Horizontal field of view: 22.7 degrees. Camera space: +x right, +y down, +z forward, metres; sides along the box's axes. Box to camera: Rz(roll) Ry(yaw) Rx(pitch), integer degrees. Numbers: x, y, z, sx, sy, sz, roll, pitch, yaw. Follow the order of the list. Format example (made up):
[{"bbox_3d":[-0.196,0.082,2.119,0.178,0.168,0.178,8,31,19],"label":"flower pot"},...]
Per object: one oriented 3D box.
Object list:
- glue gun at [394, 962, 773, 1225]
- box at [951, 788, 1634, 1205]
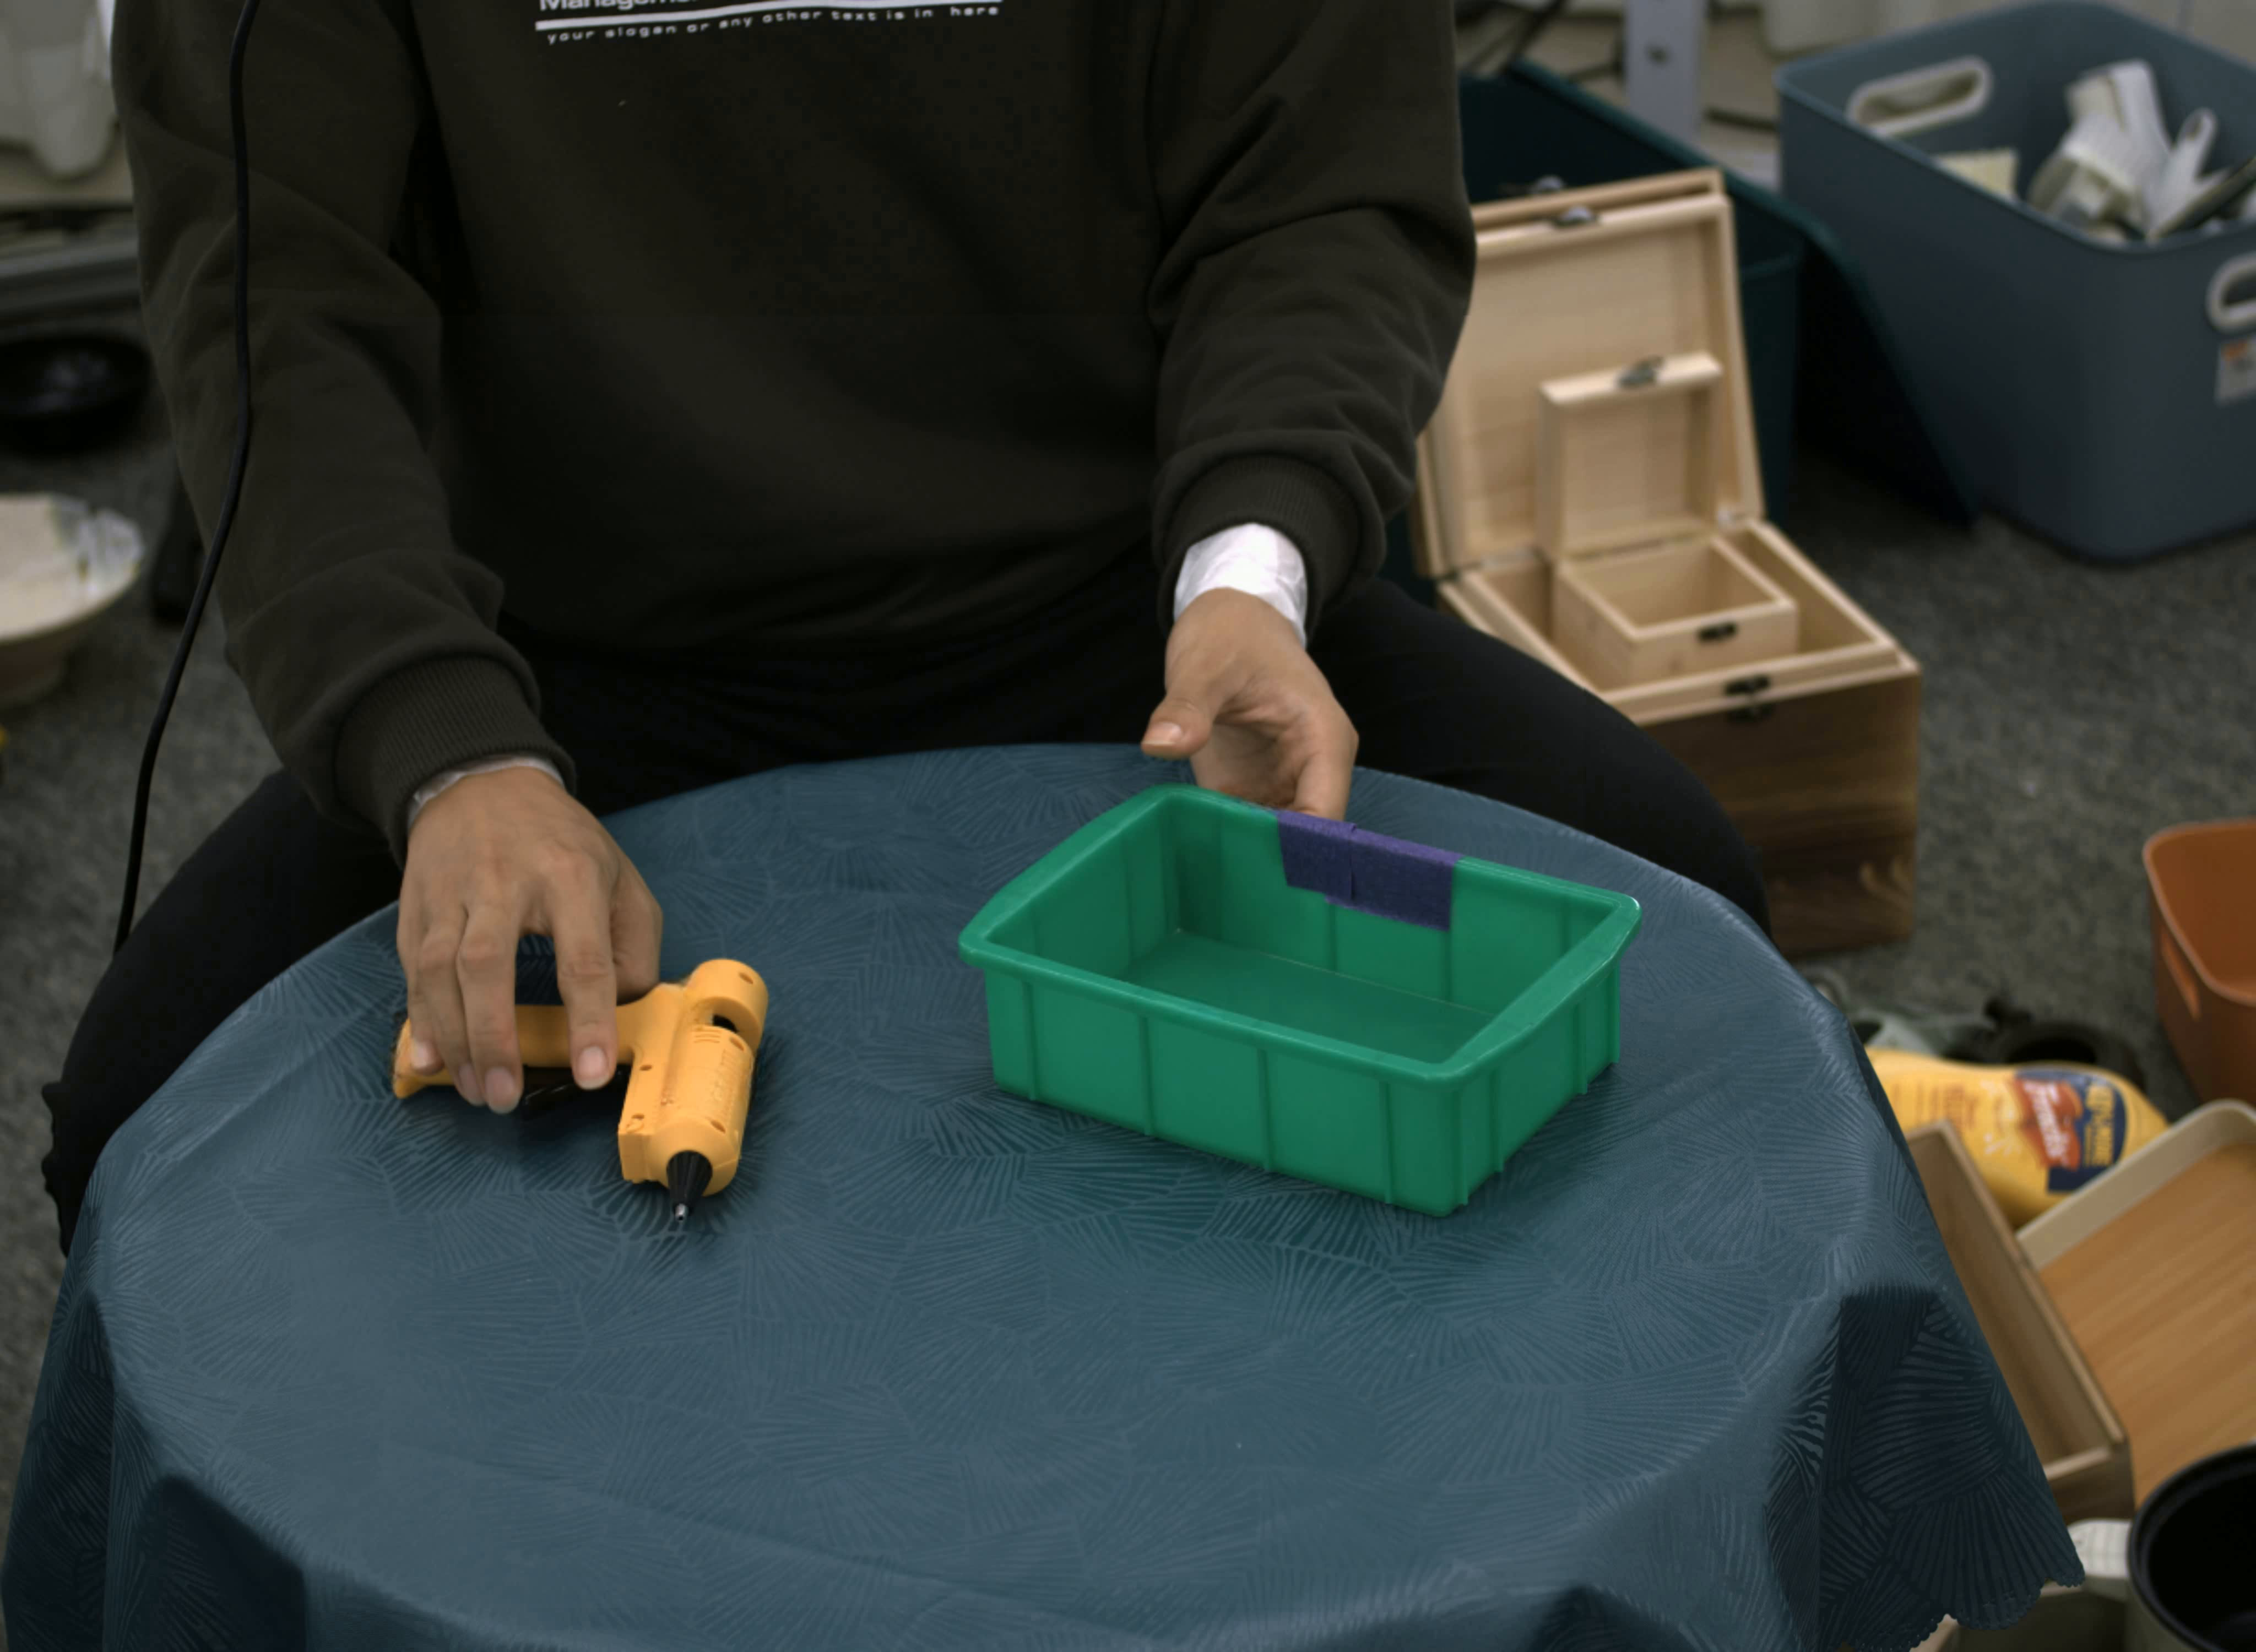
[{"bbox_3d":[-0.187,0.098,1.904,0.132,0.031,0.153,-5,28,0],"label":"glue gun"},{"bbox_3d":[0.057,0.058,1.916,0.209,0.065,0.141,12,29,30],"label":"box"}]
